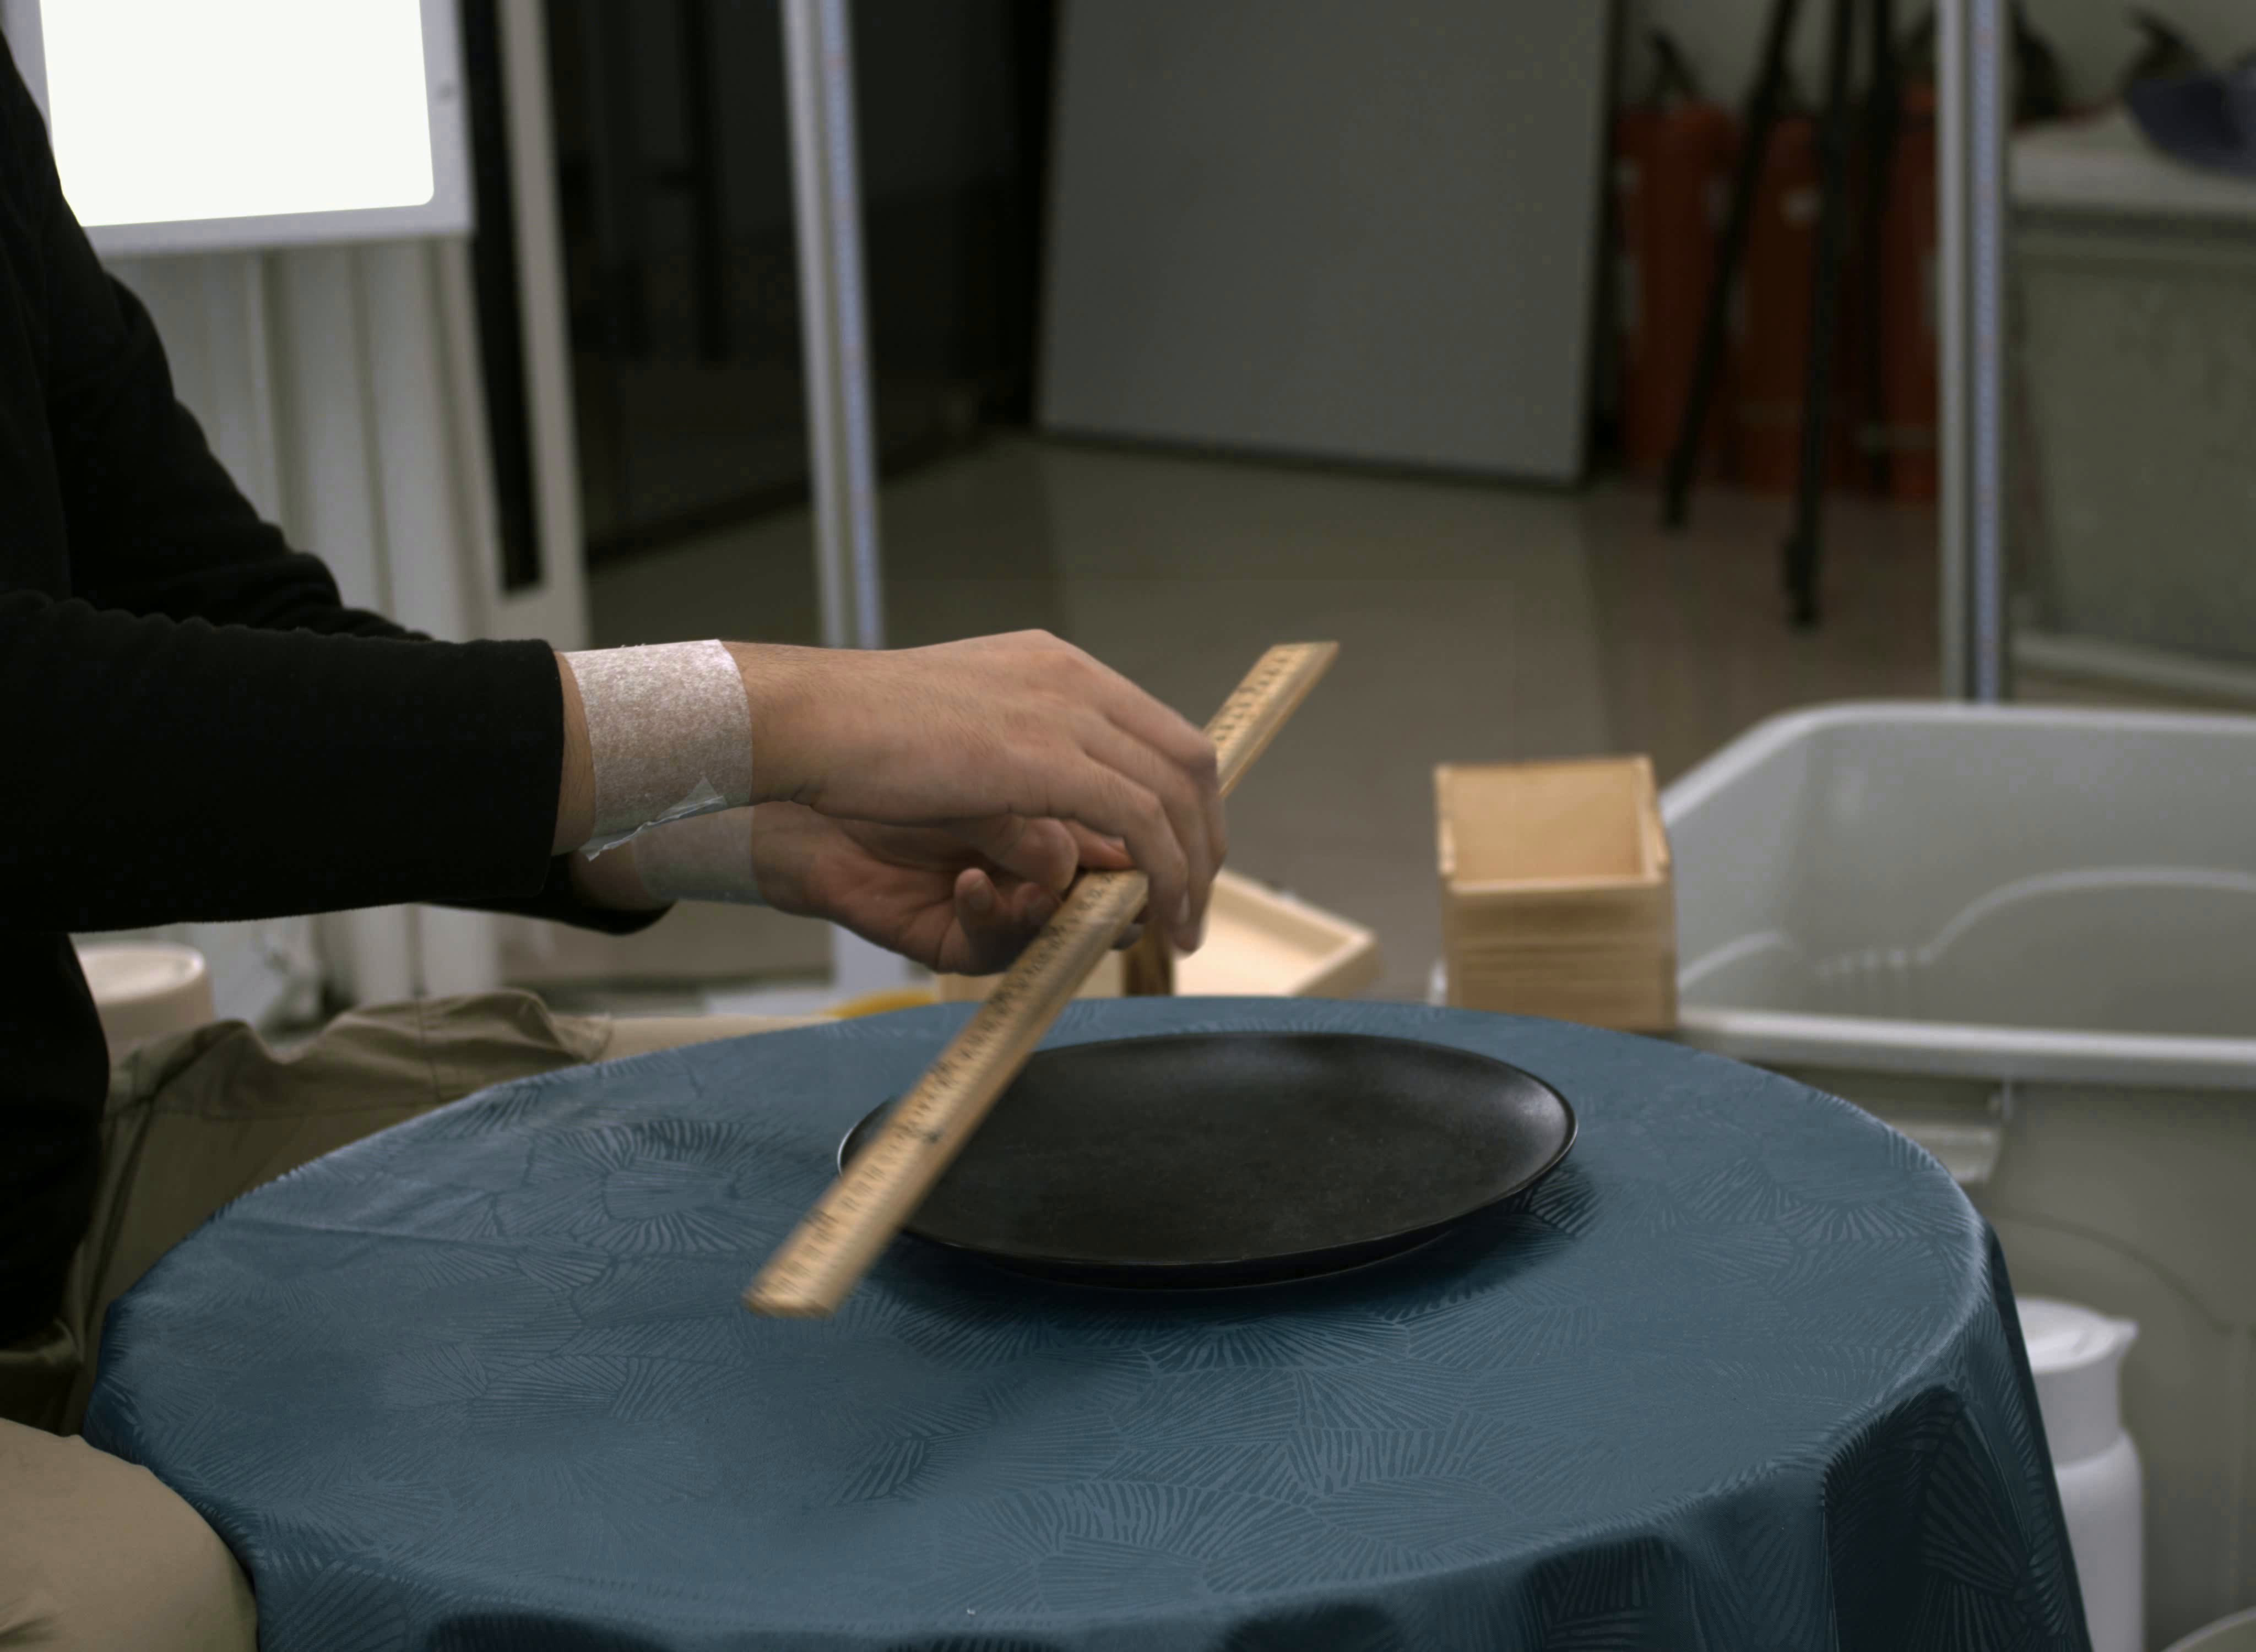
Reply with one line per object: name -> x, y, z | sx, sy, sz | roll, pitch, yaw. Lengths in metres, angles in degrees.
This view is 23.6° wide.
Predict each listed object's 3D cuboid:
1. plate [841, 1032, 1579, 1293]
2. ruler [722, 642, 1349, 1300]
plate -> 0.027, 0.111, 1.752 | 0.241, 0.024, 0.245 | -5, 14, 0
ruler -> -0.018, 0.034, 1.723 | 0.027, 0.006, 0.496 | -3, 22, 23
